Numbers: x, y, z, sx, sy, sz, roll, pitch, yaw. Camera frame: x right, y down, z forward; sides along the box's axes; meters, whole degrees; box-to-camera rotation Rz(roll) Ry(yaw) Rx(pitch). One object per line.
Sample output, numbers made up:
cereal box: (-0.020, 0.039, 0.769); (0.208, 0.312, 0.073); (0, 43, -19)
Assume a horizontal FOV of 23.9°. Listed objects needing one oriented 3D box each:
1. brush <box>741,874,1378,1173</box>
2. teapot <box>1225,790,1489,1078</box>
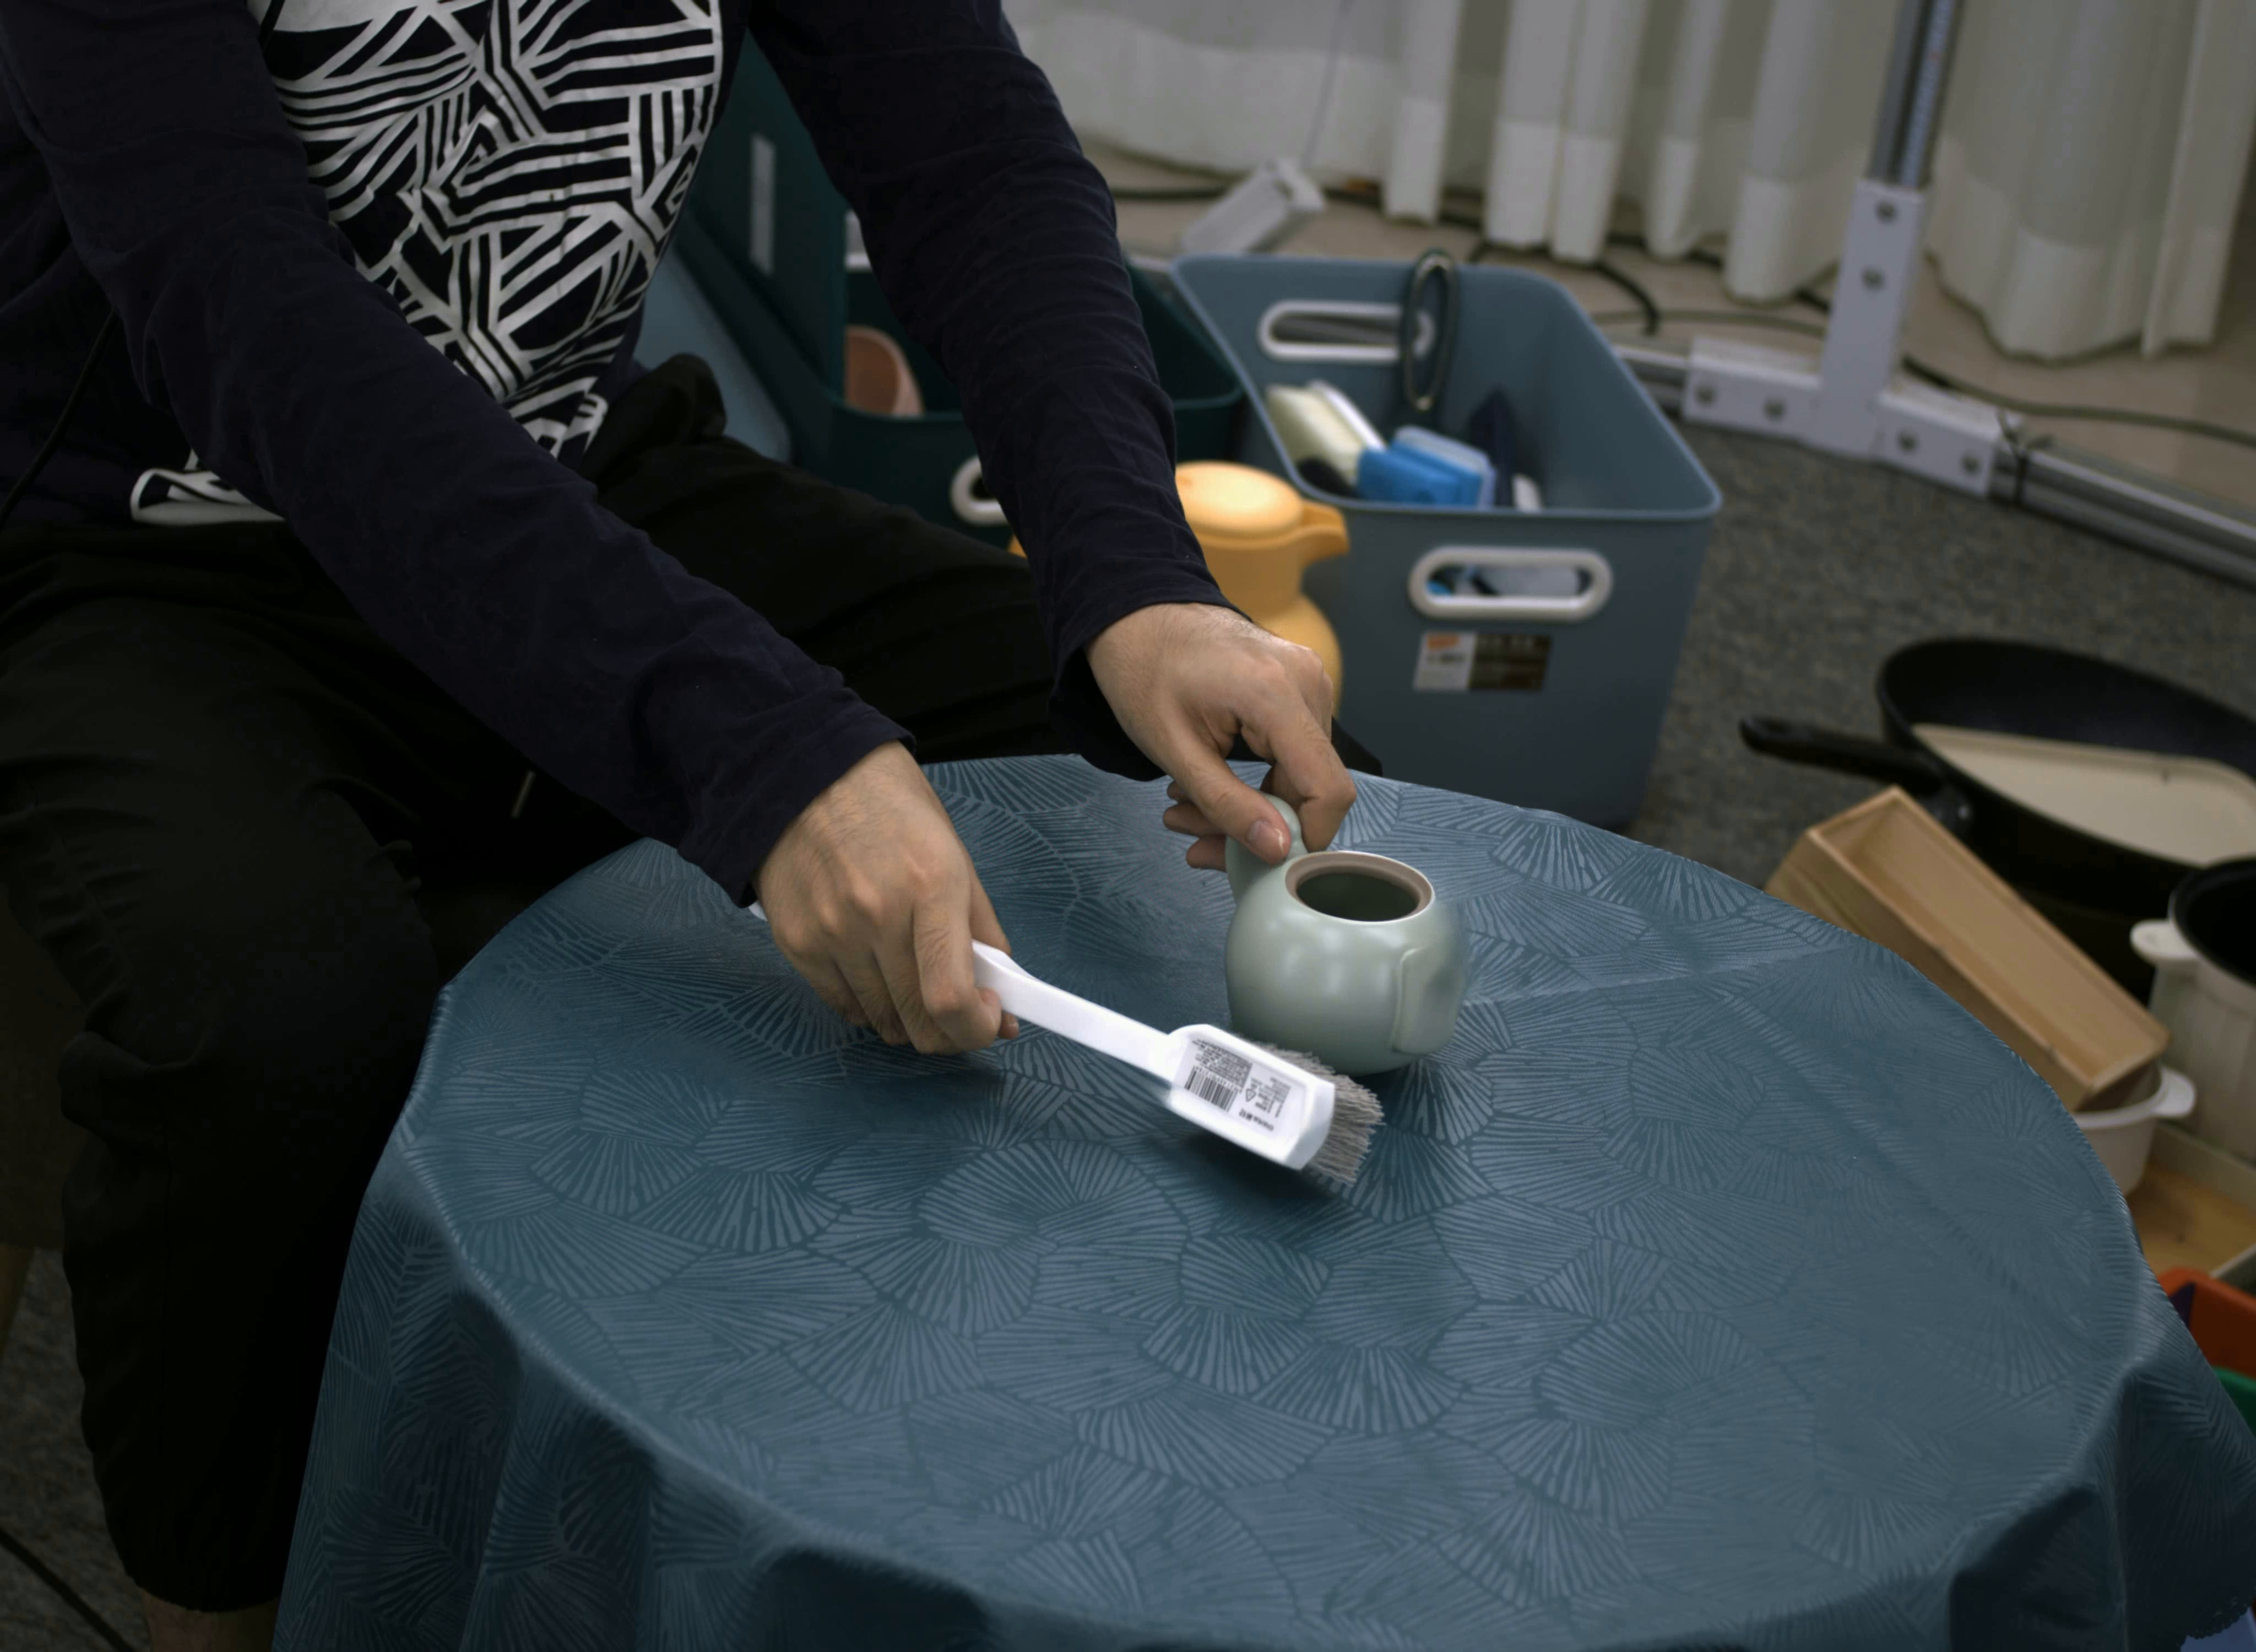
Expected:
brush: (-0.025, 0.066, 1.852); (0.245, 0.034, 0.050); (20, 3, 25)
teapot: (0.079, 0.048, 1.894); (0.088, 0.074, 0.145); (-12, 33, -31)
